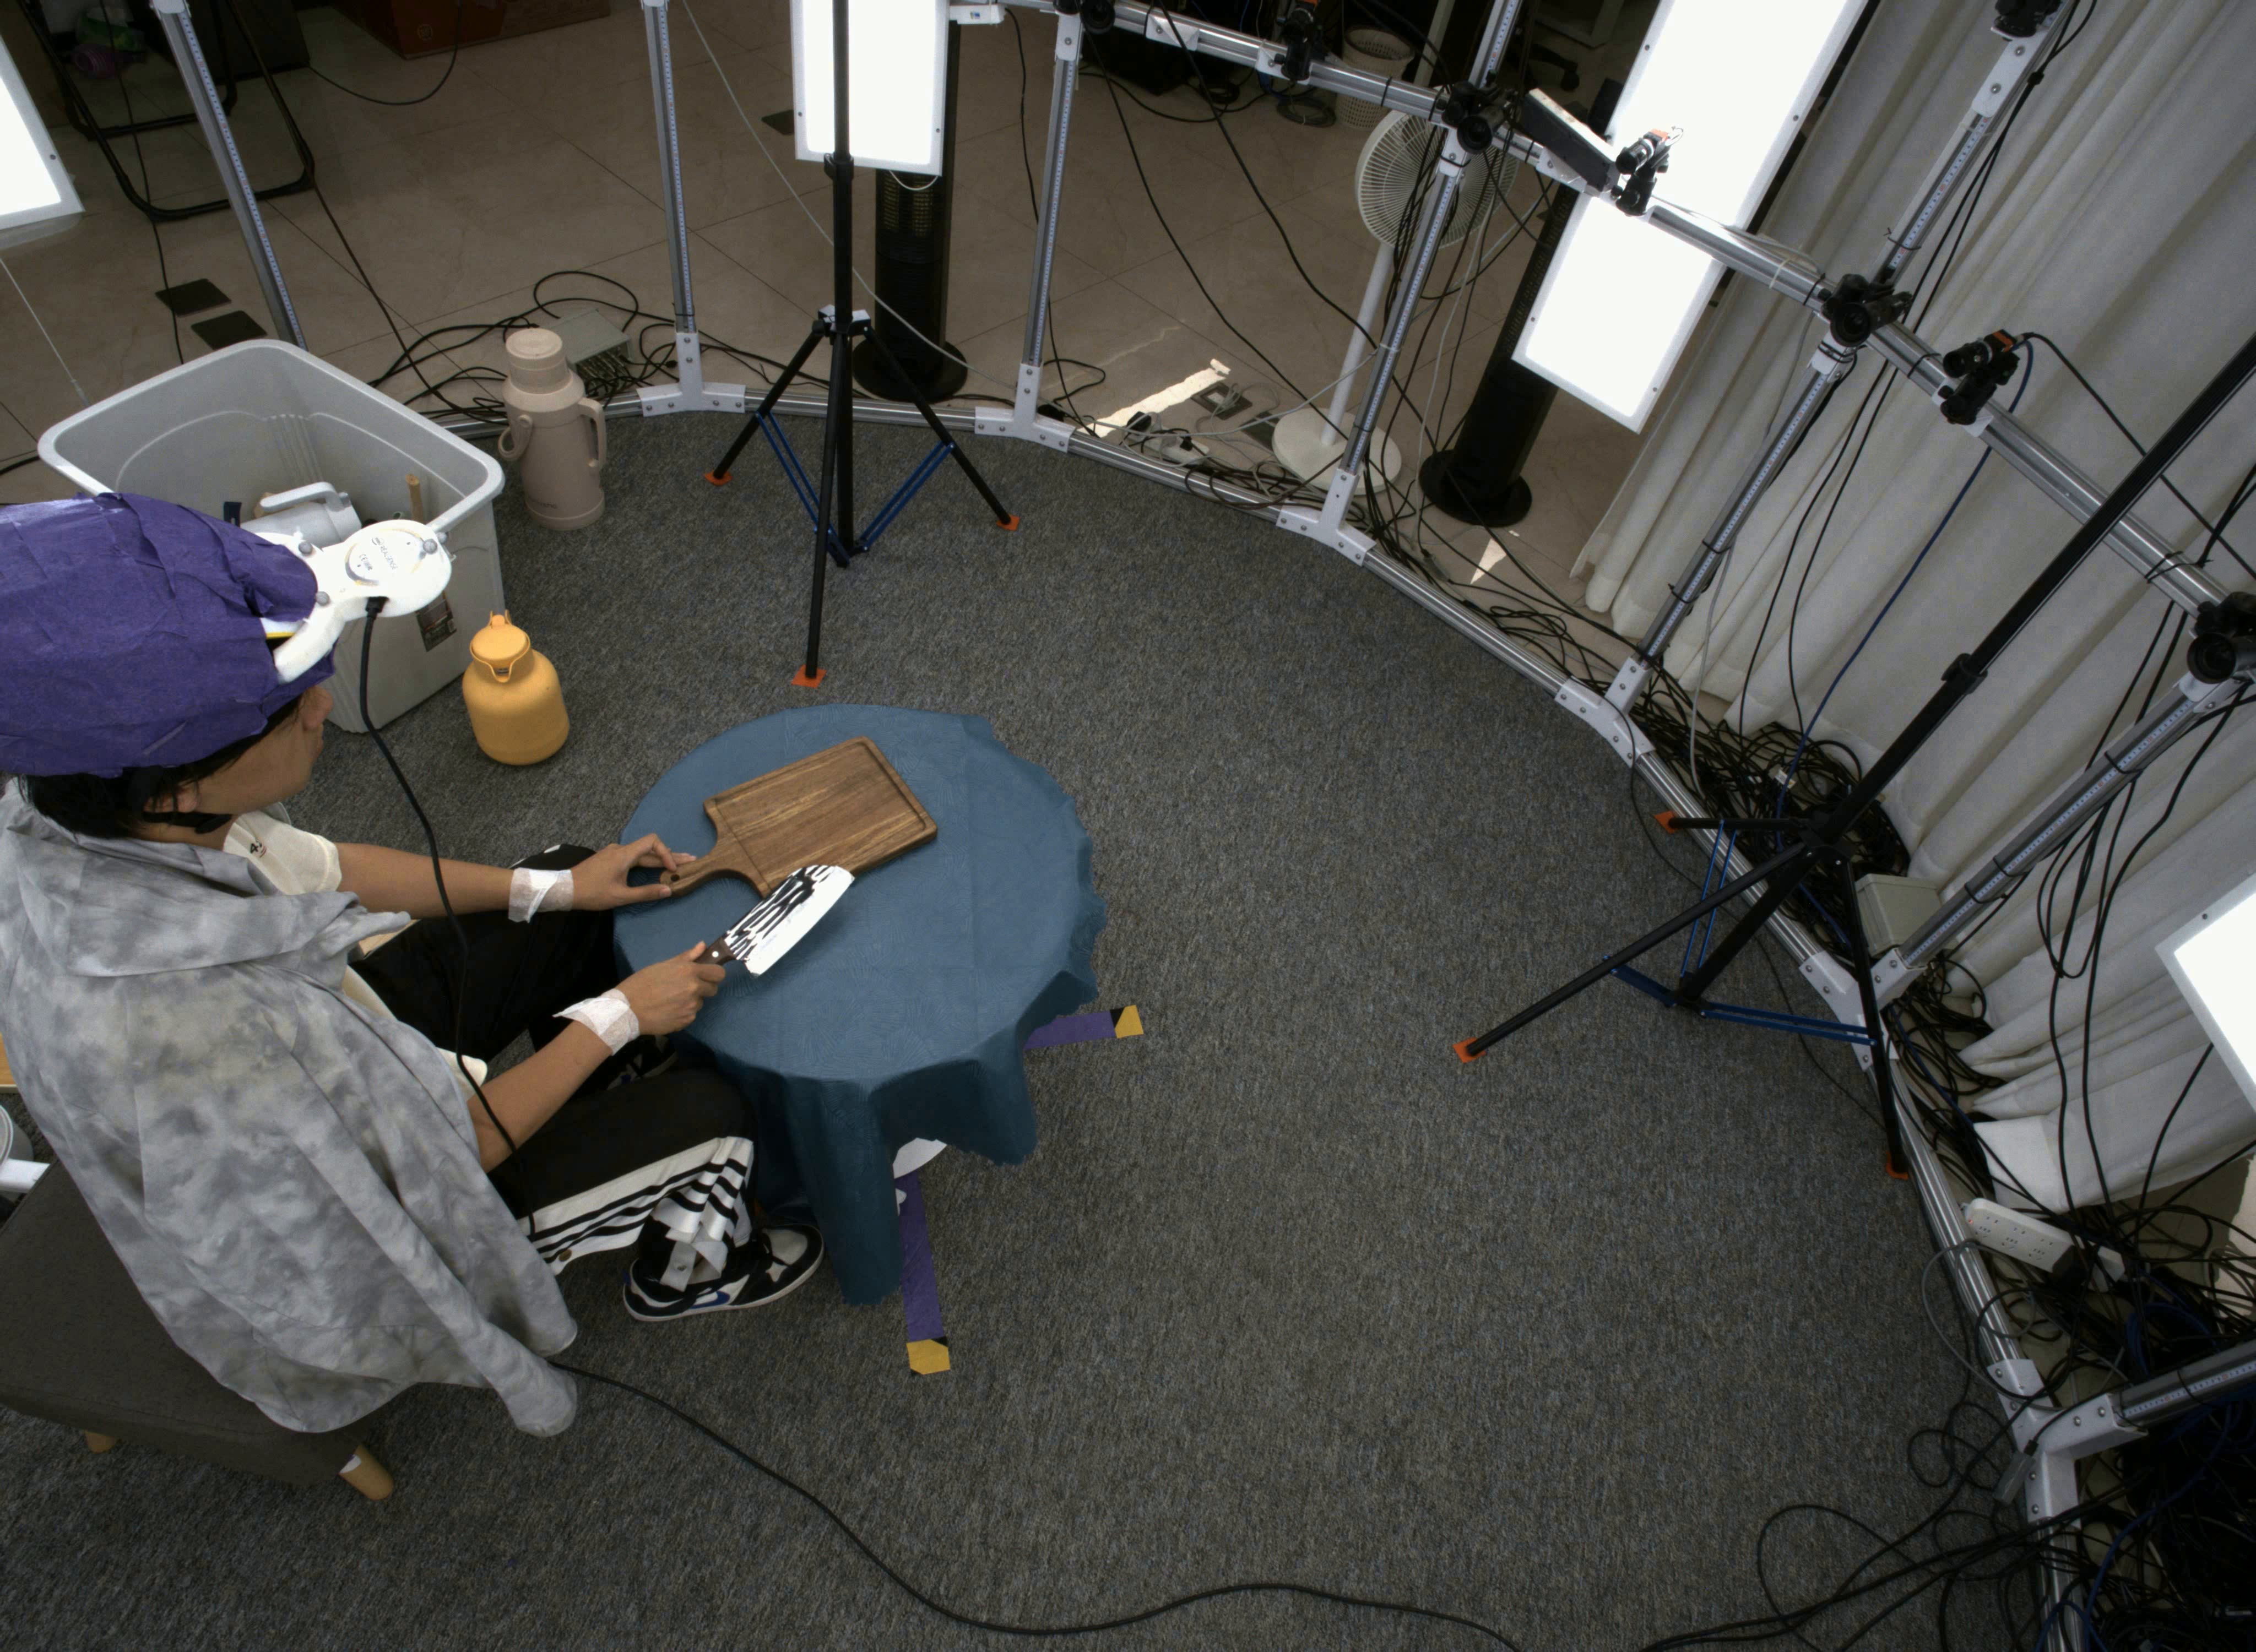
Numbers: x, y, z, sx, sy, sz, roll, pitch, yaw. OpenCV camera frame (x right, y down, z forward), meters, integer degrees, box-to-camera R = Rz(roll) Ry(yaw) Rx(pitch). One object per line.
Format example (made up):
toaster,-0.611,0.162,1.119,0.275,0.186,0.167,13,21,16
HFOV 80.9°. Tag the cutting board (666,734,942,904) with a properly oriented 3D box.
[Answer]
cutting board,-0.441,0.010,1.701,0.353,0.023,0.196,-27,64,-29

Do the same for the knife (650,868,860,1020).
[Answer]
knife,-0.443,0.141,1.557,0.069,0.024,0.299,49,60,-6
